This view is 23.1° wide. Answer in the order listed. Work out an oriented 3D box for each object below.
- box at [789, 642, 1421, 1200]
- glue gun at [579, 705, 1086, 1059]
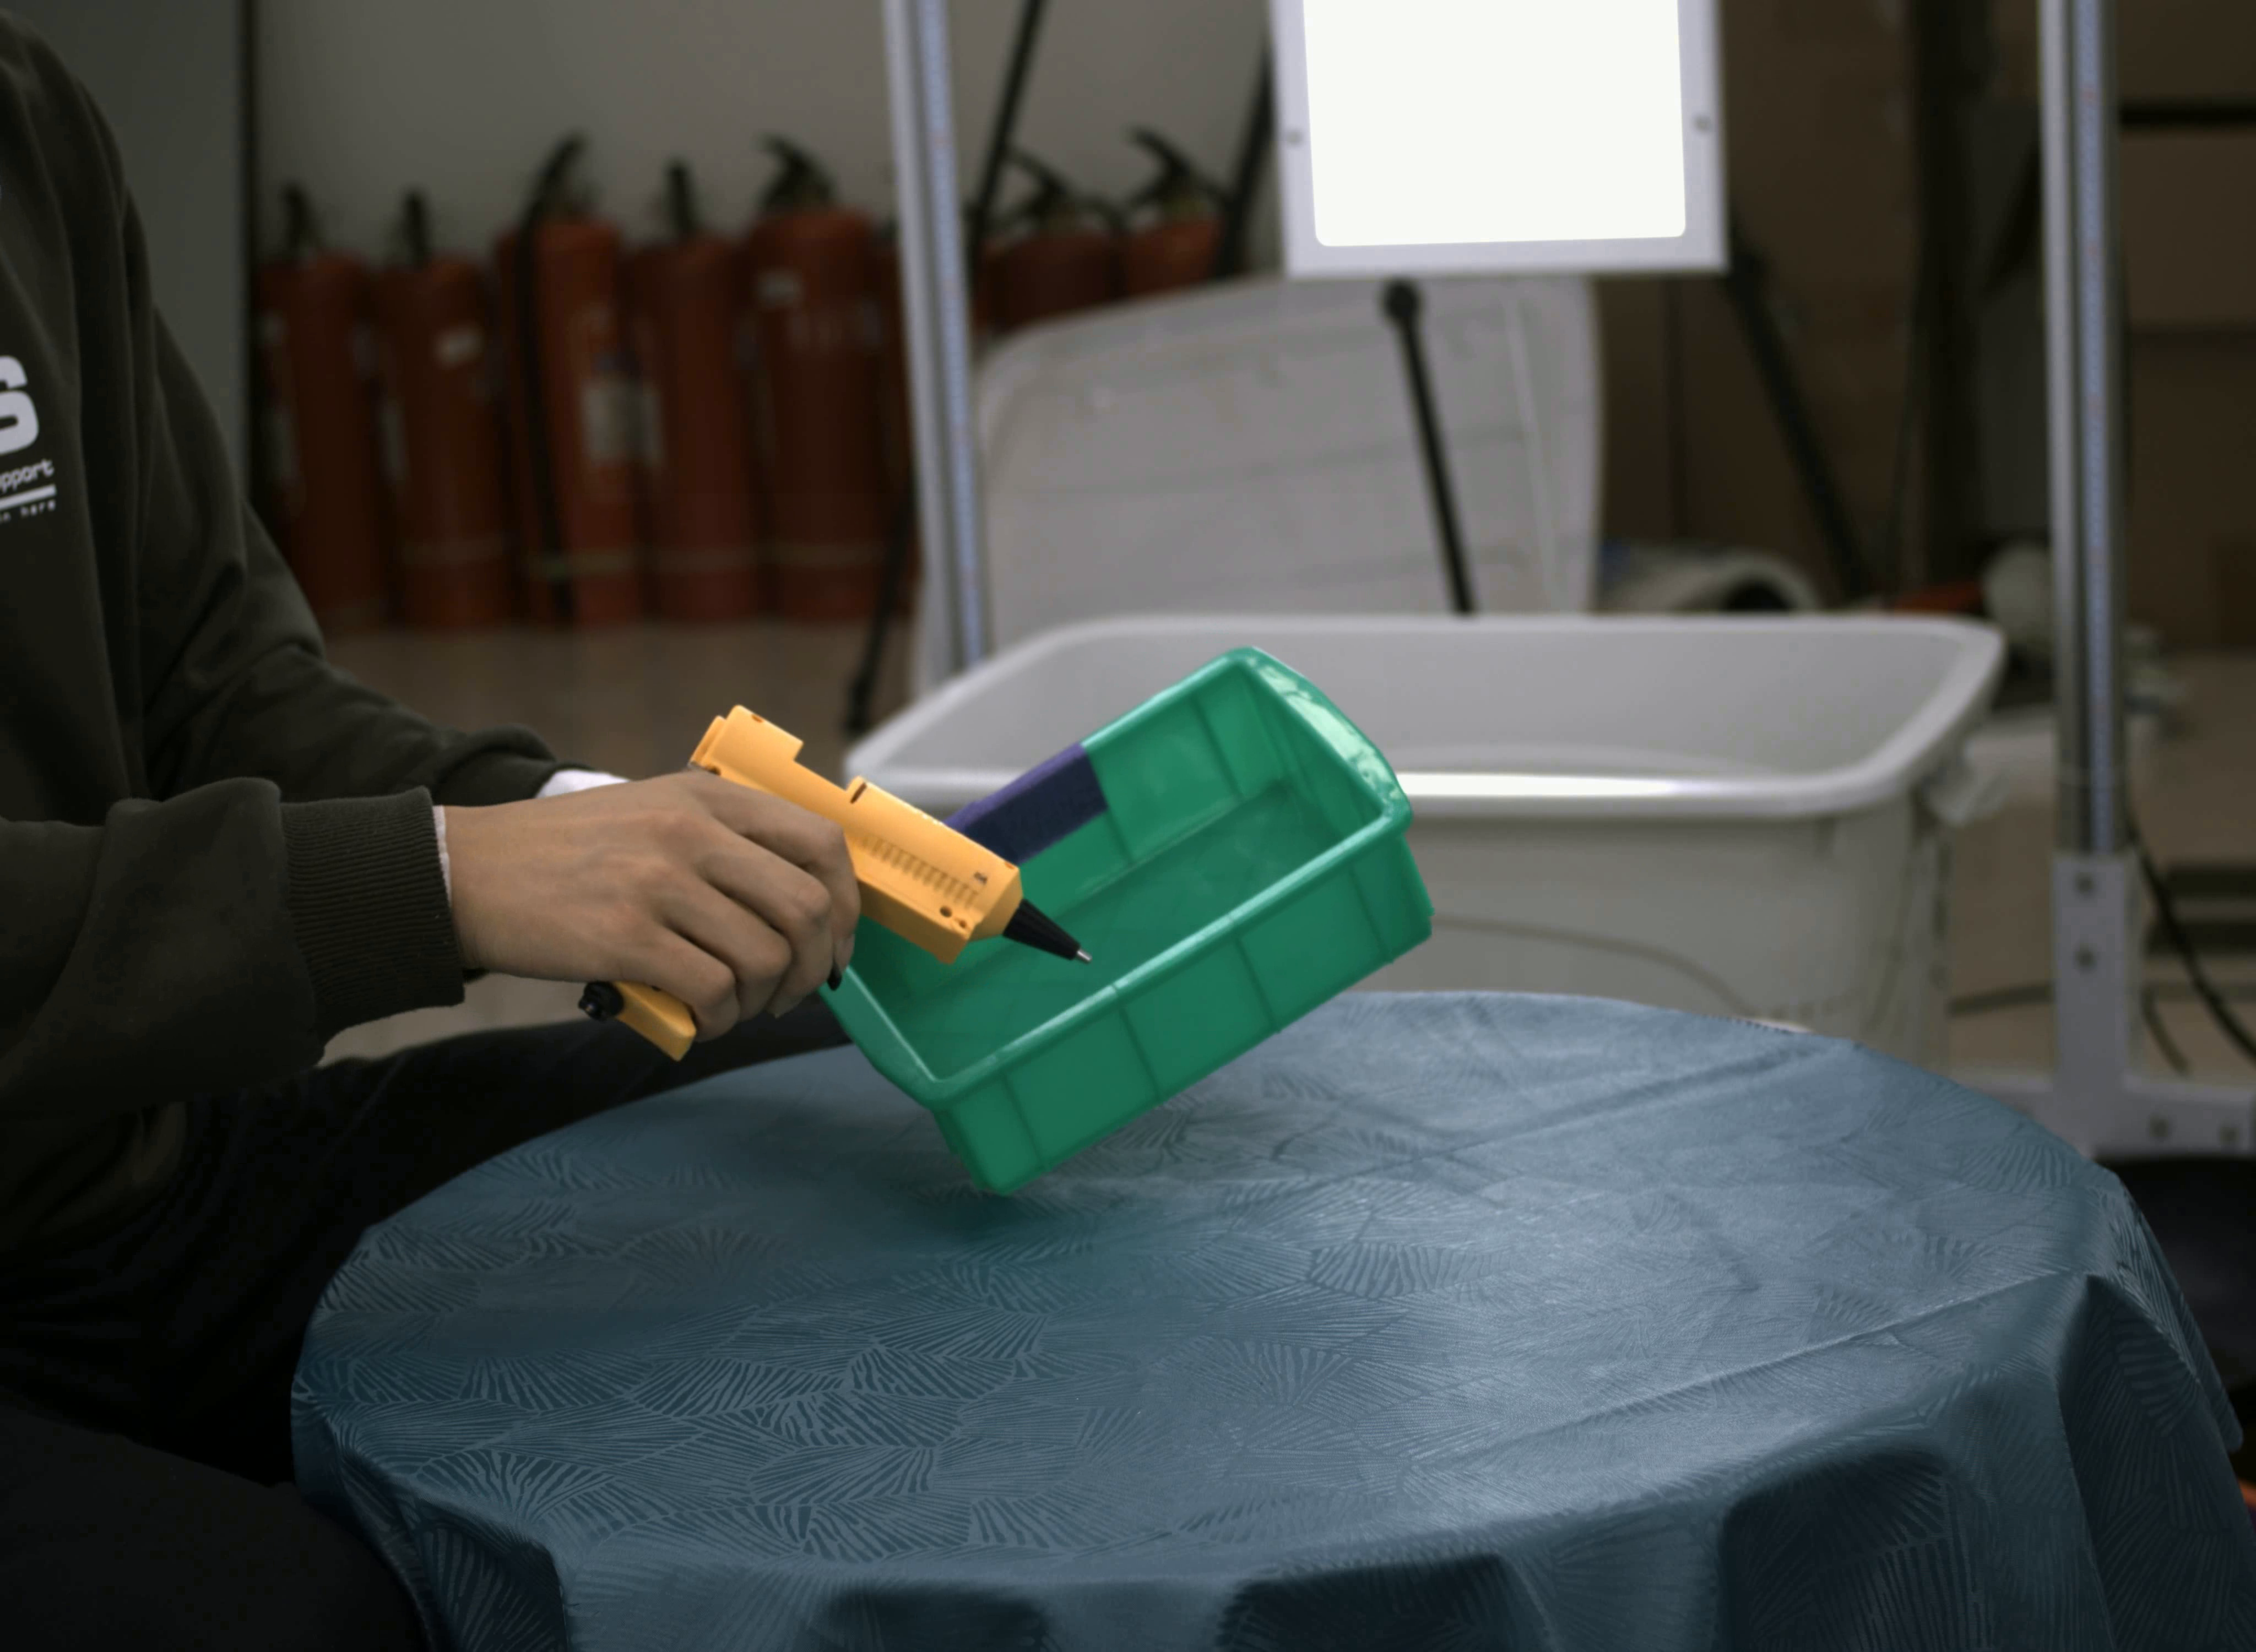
[{"bbox_3d":[-0.005,0.036,1.944,0.209,0.065,0.140,-34,35,-6],"label":"box"},{"bbox_3d":[-0.093,0.041,1.838,0.150,0.031,0.131,26,54,-4],"label":"glue gun"}]
